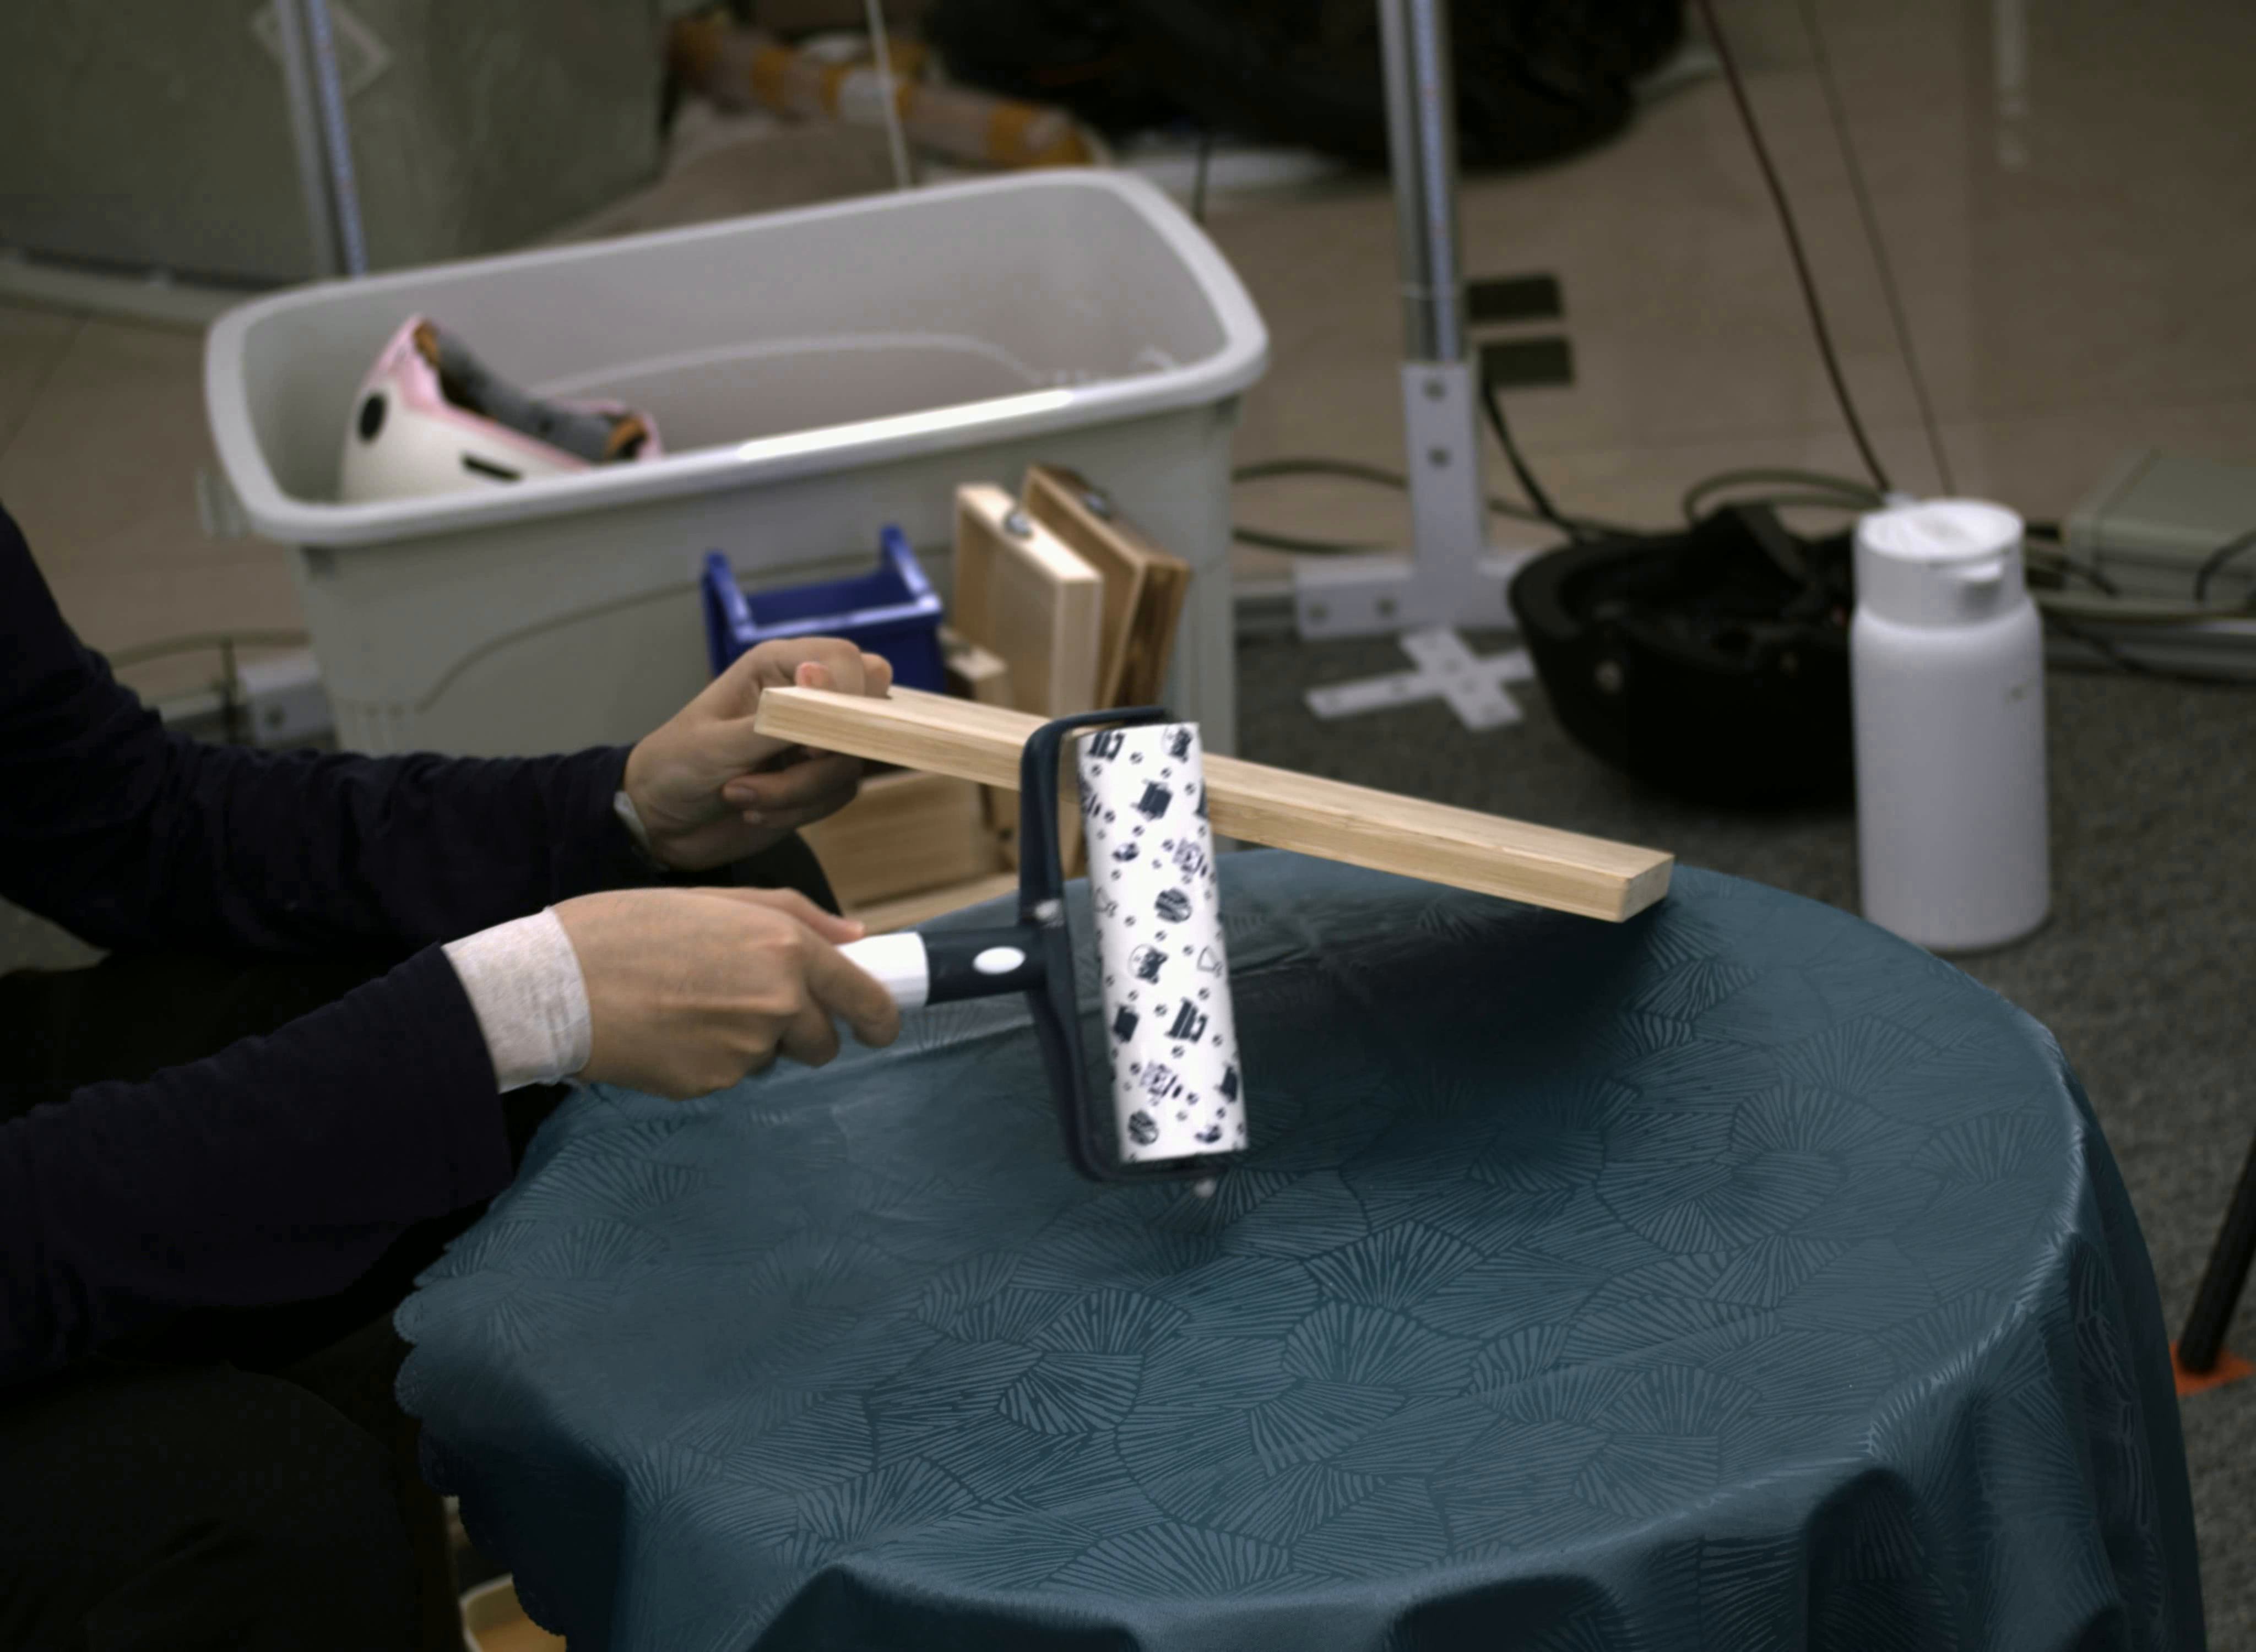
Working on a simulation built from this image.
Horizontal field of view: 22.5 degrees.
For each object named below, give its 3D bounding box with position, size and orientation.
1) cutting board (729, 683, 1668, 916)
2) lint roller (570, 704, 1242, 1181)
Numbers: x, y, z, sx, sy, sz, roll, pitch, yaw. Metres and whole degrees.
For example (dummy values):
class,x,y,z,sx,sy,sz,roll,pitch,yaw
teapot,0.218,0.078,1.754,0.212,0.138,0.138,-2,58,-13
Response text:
class,x,y,z,sx,sy,sz,roll,pitch,yaw
cutting board,0.035,-0.012,2.244,0.347,0.023,0.250,12,3,8
lint roller,-0.079,0.045,2.069,0.247,0.176,0.050,-1,-3,-14
